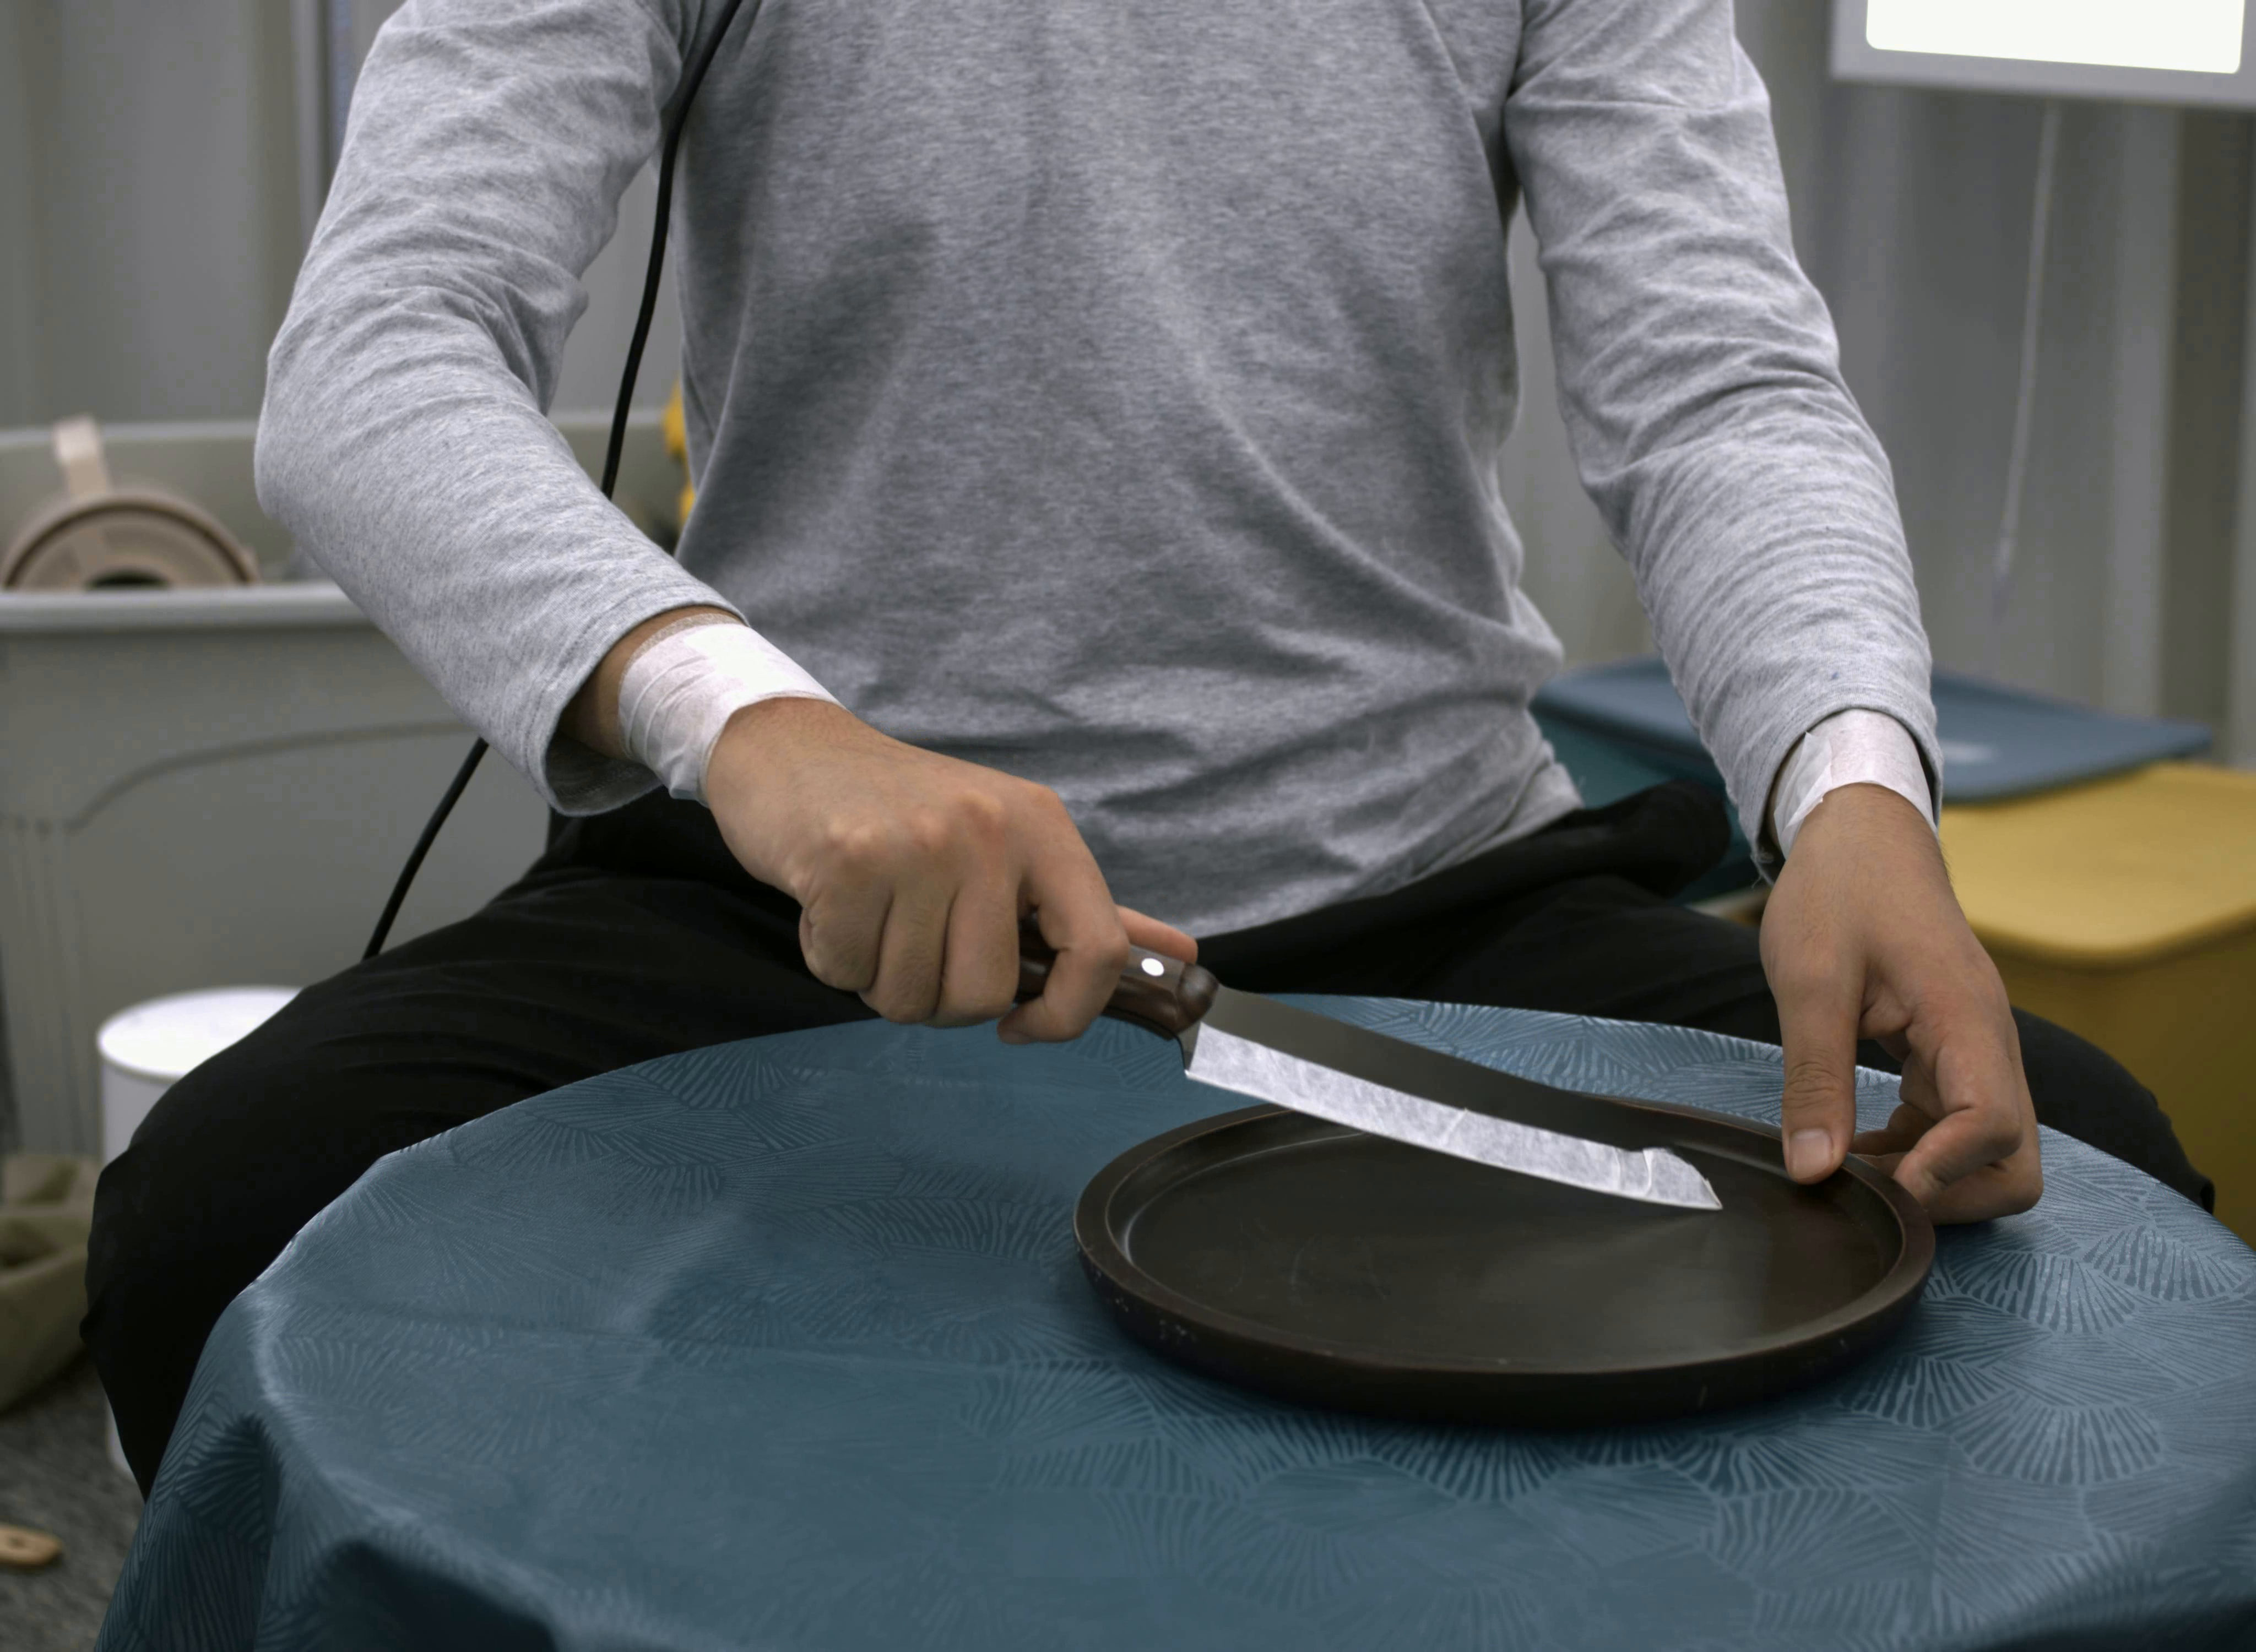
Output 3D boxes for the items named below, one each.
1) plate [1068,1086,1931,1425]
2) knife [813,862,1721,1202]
[{"bbox_3d":[0.108,0.123,1.543,0.254,0.029,0.253,-1,14,1],"label":"plate"},{"bbox_3d":[0.042,0.064,1.576,0.289,0.020,0.050,18,42,-3],"label":"knife"}]
